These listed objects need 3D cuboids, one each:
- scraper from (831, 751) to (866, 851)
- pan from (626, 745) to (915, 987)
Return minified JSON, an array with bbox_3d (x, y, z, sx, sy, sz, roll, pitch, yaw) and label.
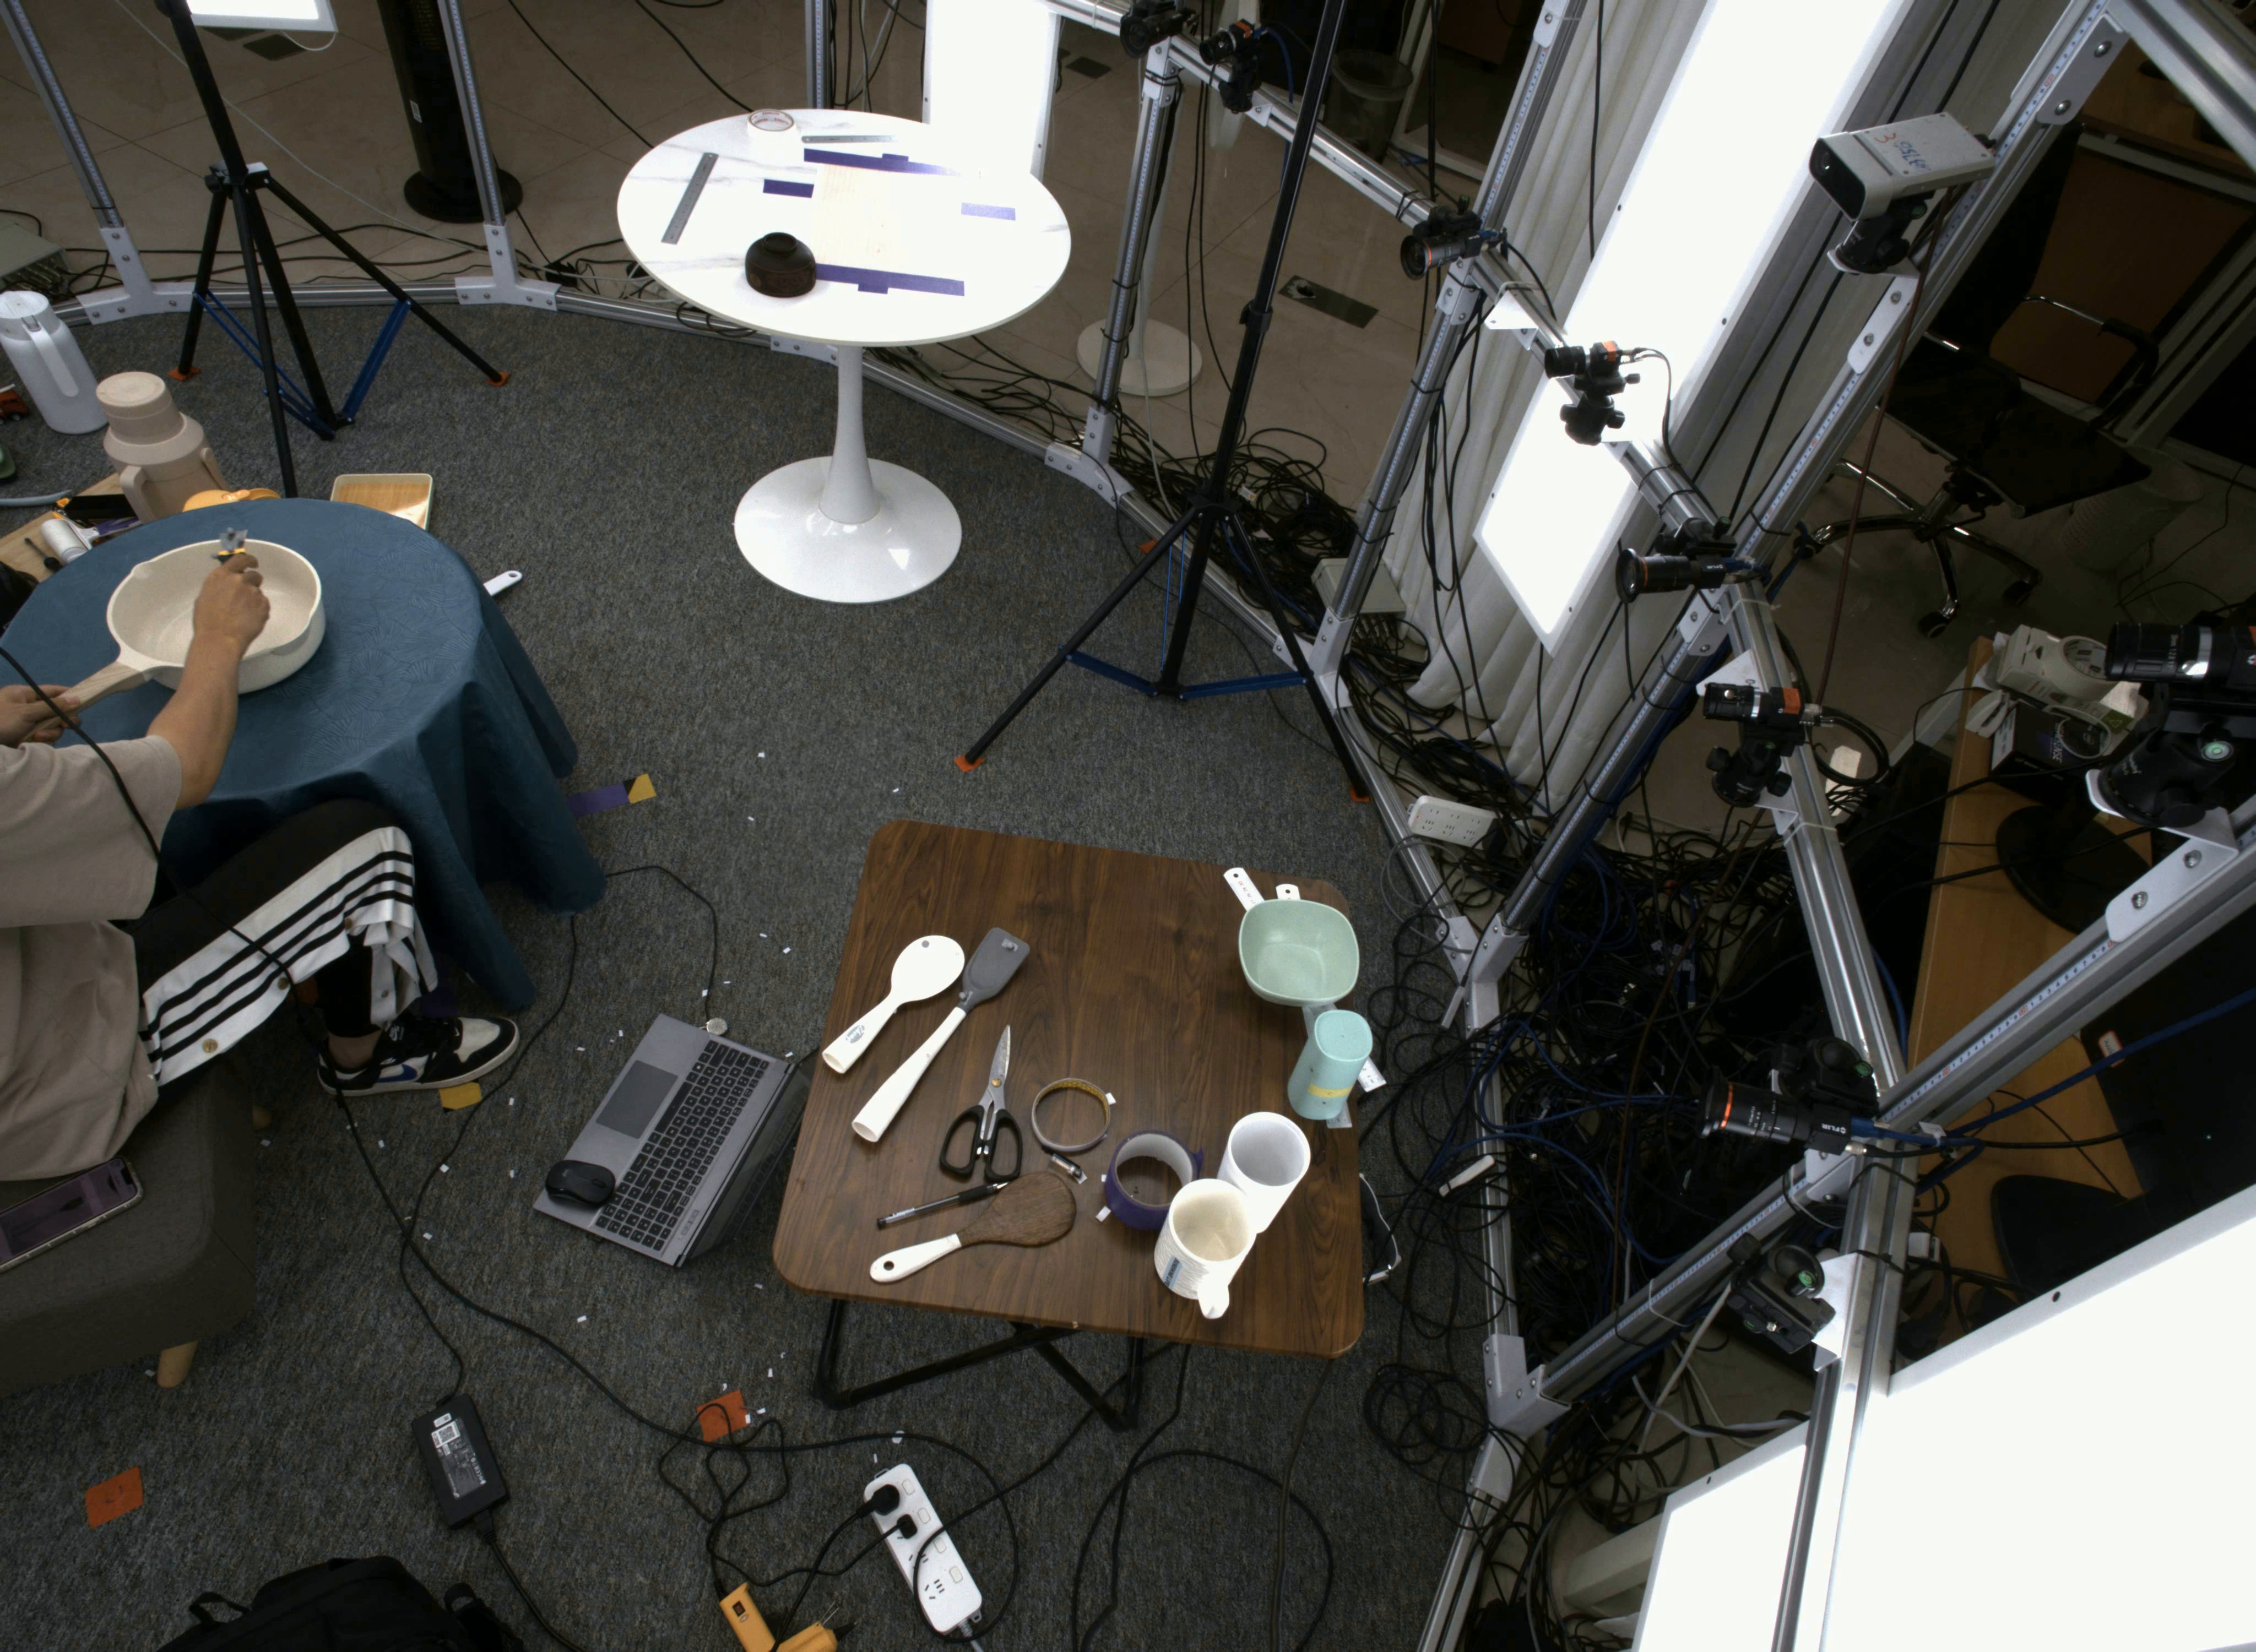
[{"bbox_3d":[-0.338,-0.033,1.575,0.039,0.015,0.166,2,45,-18],"label":"scraper"},{"bbox_3d":[-0.454,0.068,1.616,0.259,0.104,0.434,36,54,11],"label":"pan"}]
